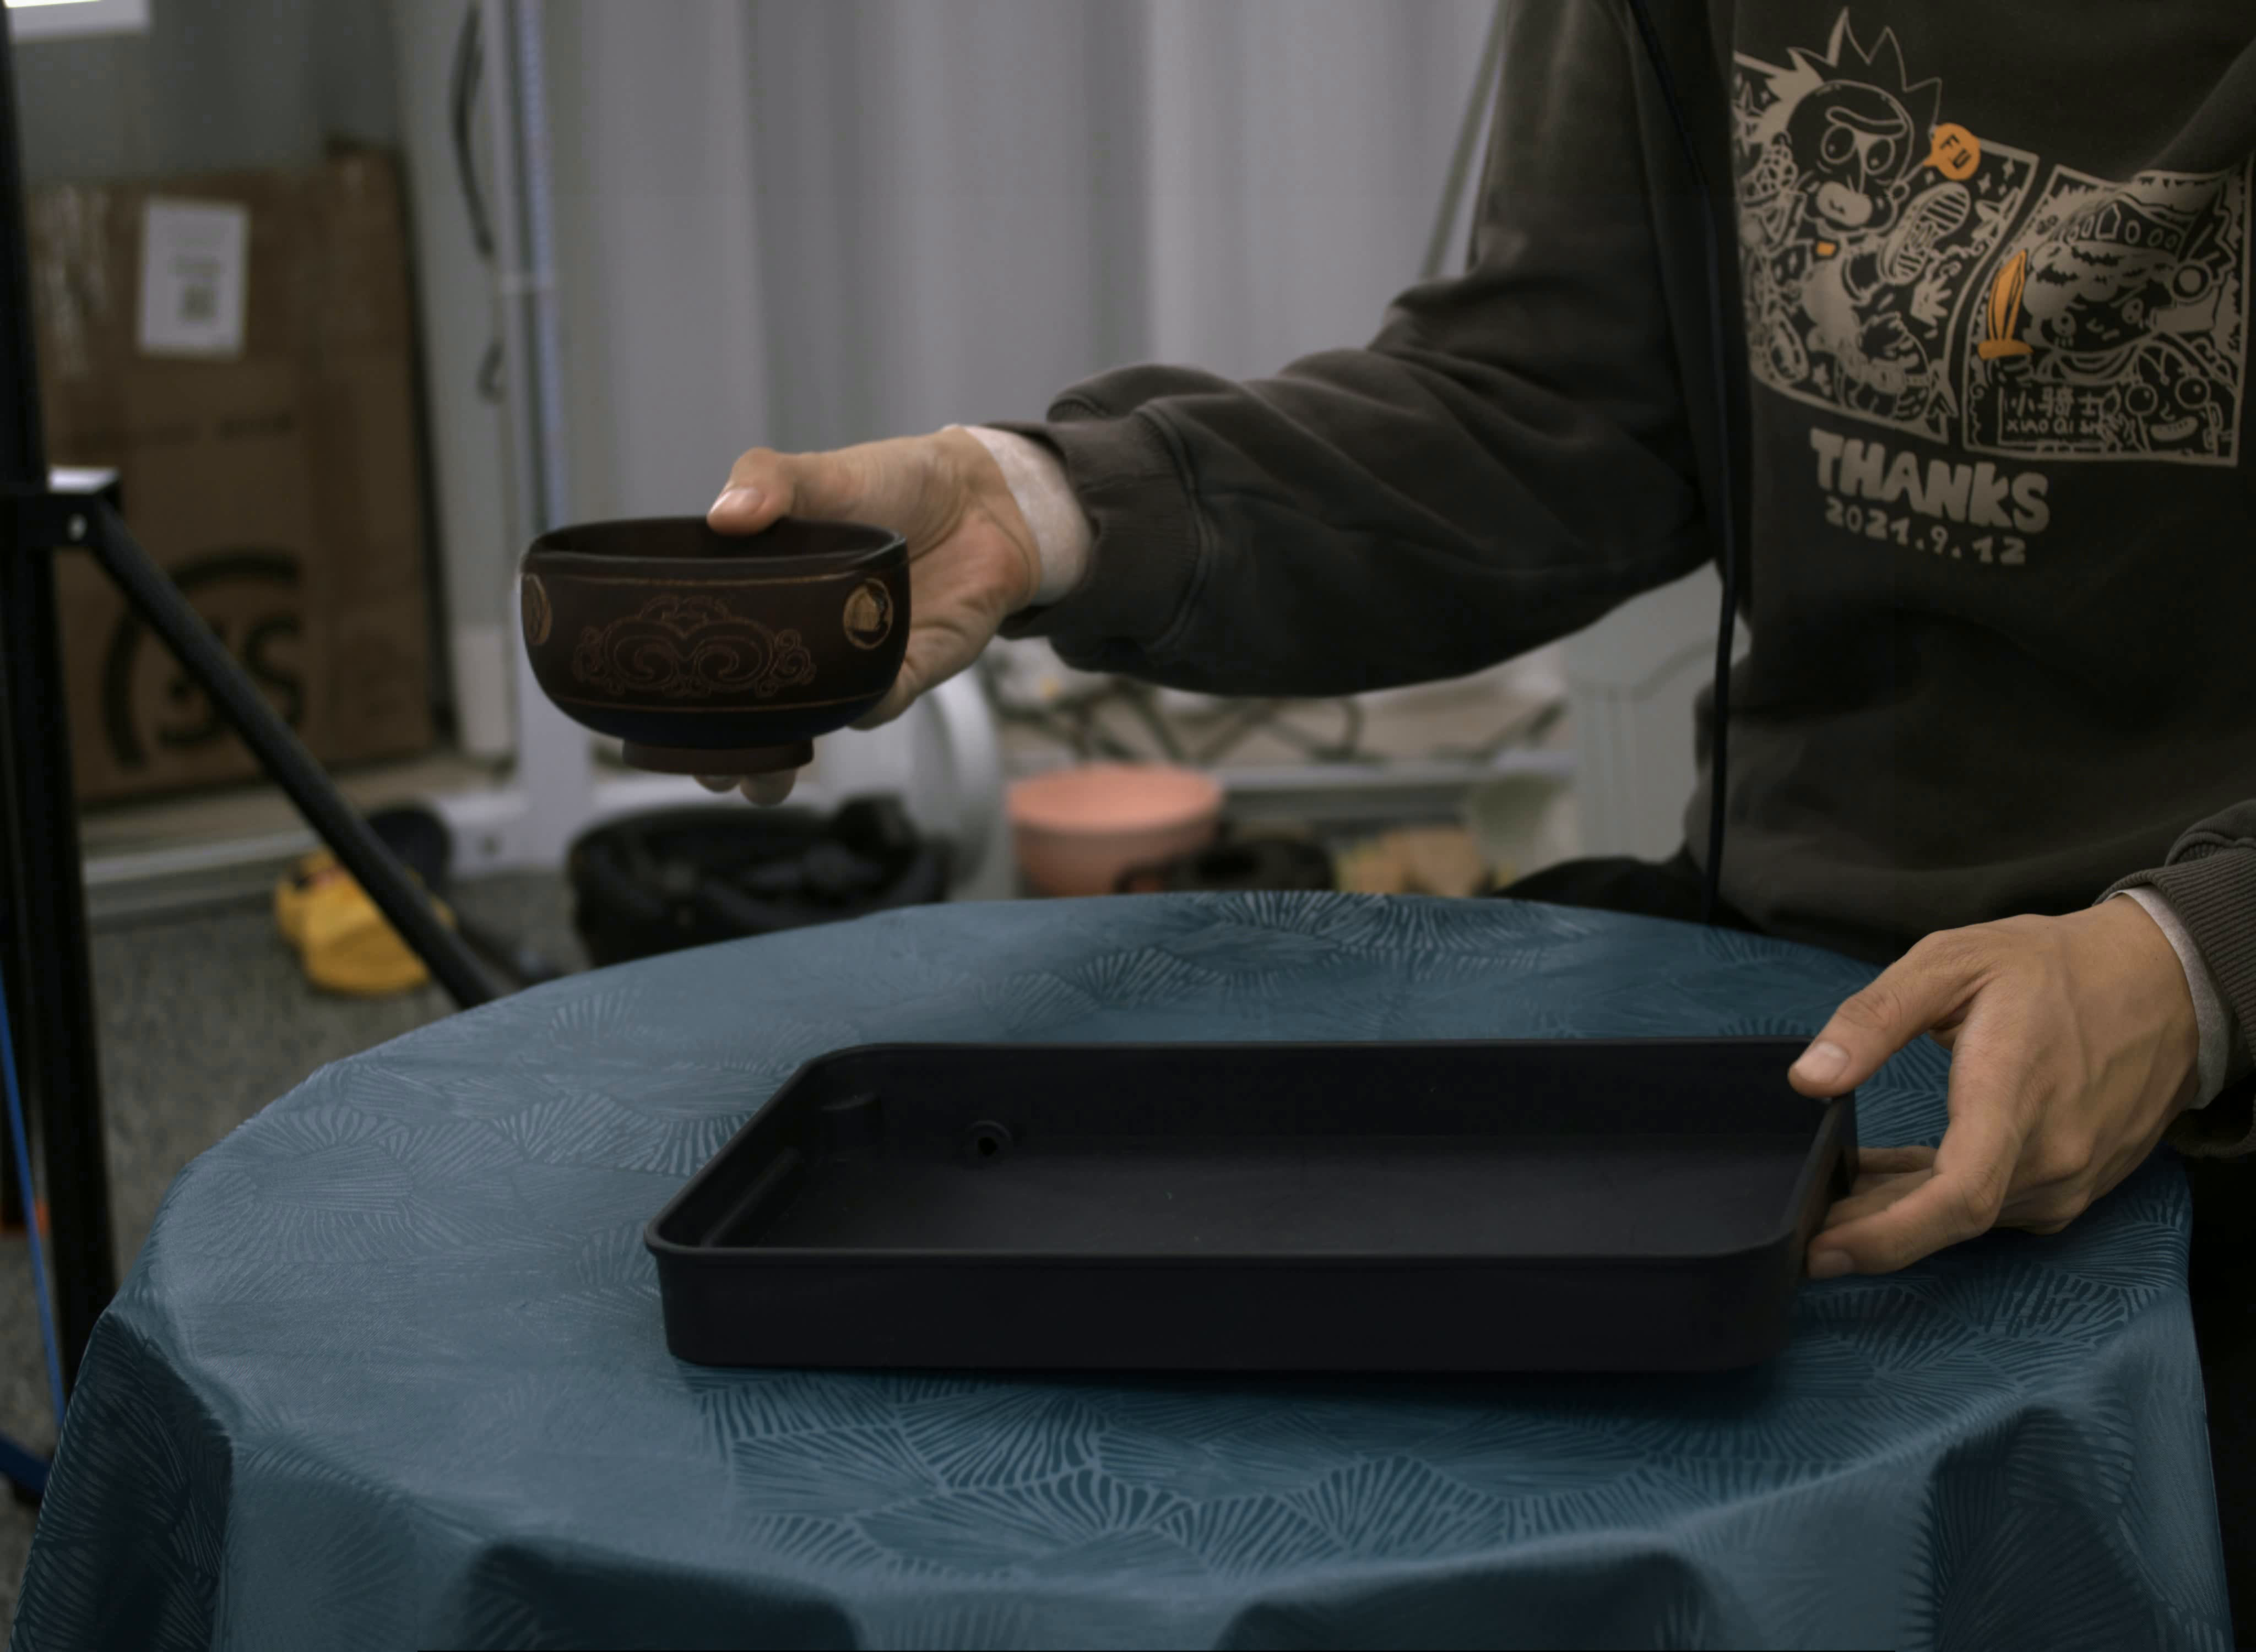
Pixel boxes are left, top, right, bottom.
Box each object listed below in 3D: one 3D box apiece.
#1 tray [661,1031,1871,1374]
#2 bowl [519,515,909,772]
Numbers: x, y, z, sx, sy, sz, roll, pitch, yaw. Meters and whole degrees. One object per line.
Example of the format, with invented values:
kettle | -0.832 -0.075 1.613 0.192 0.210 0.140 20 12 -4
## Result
tray | 0.043 0.104 1.477 0.320 0.037 0.183 -2 15 15
bowl | -0.125 -0.054 1.613 0.117 0.070 0.118 0 8 -1
